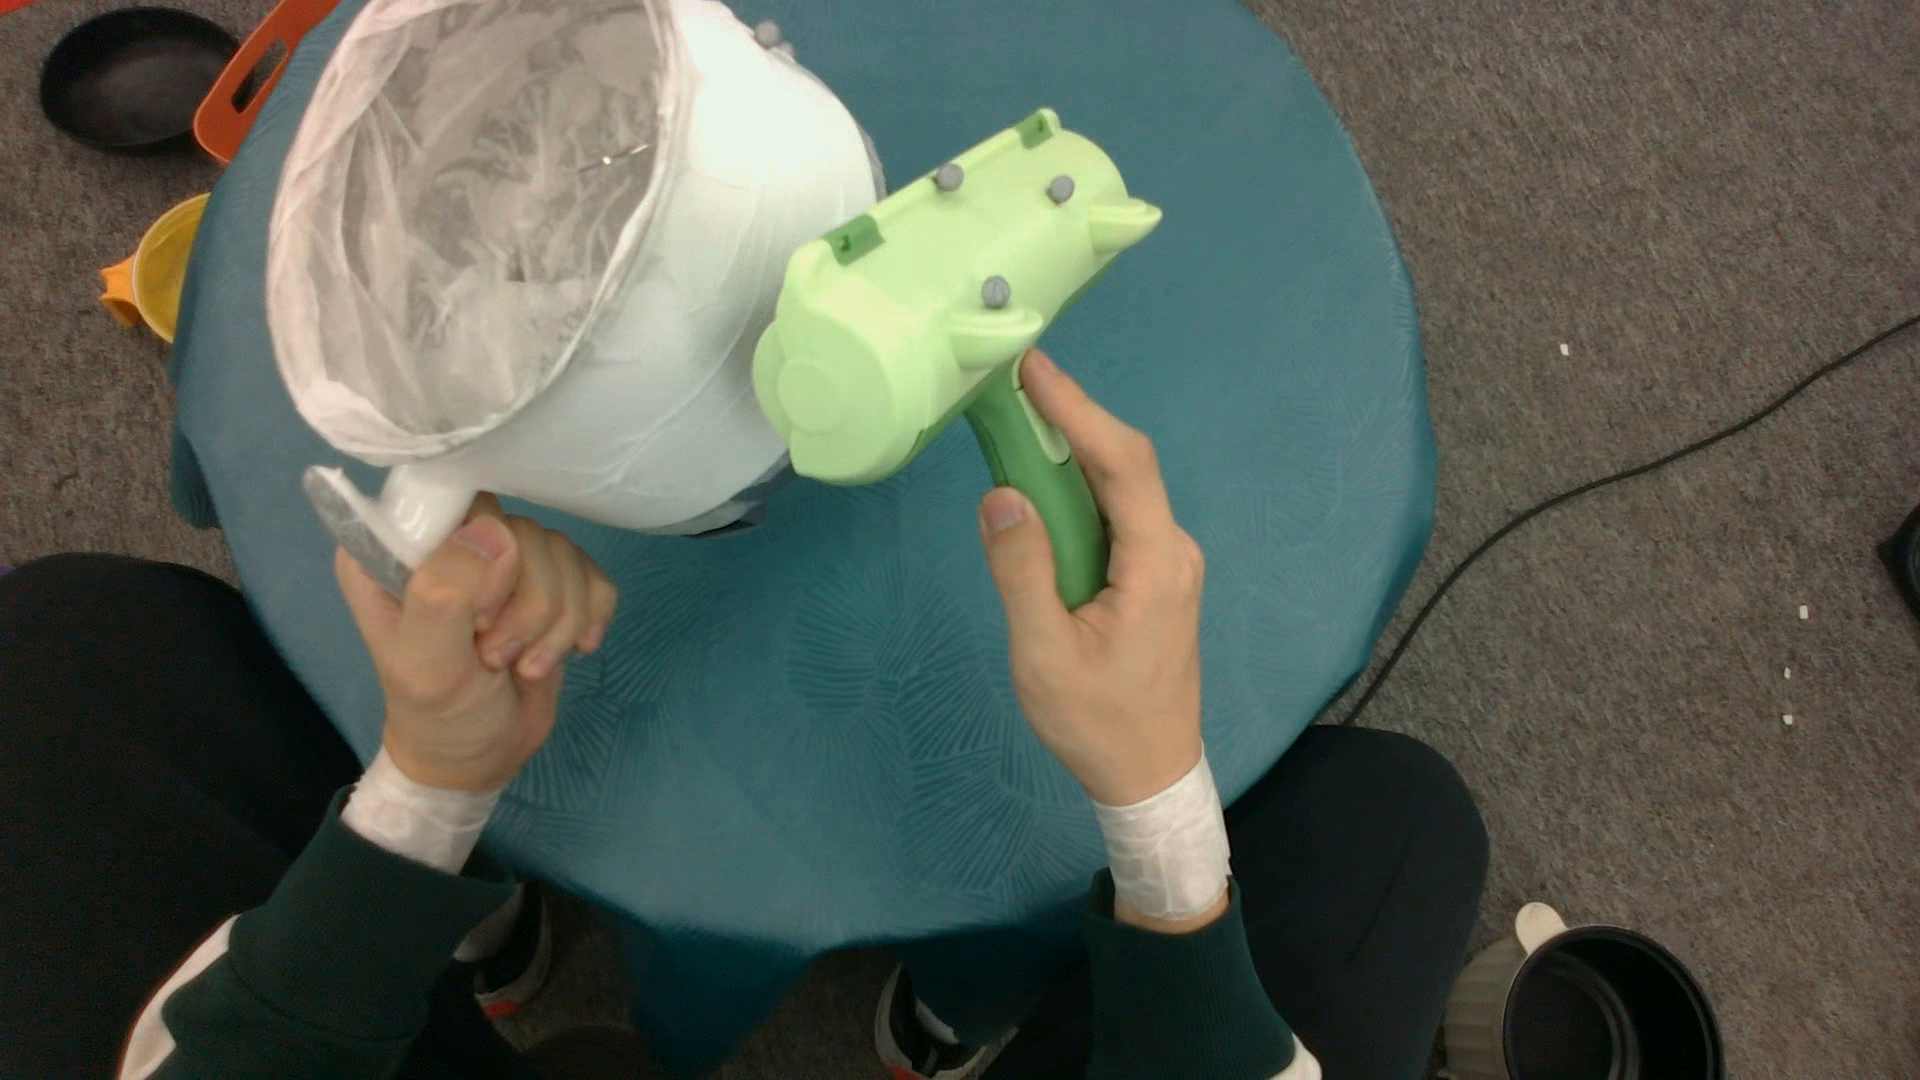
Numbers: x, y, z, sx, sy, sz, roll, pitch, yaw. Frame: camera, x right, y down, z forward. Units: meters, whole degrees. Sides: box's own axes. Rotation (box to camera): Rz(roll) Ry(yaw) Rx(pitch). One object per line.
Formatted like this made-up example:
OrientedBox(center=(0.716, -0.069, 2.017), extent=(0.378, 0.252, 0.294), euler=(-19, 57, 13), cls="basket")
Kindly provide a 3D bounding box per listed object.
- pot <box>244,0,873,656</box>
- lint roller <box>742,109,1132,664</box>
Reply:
OrientedBox(center=(-0.137, -0.075, 0.465), extent=(0.178, 0.137, 0.233), euler=(21, 91, 33), cls="pot")
OrientedBox(center=(0.027, -0.042, 0.462), extent=(0.183, 0.082, 0.199), euler=(60, 33, -15), cls="lint roller")
